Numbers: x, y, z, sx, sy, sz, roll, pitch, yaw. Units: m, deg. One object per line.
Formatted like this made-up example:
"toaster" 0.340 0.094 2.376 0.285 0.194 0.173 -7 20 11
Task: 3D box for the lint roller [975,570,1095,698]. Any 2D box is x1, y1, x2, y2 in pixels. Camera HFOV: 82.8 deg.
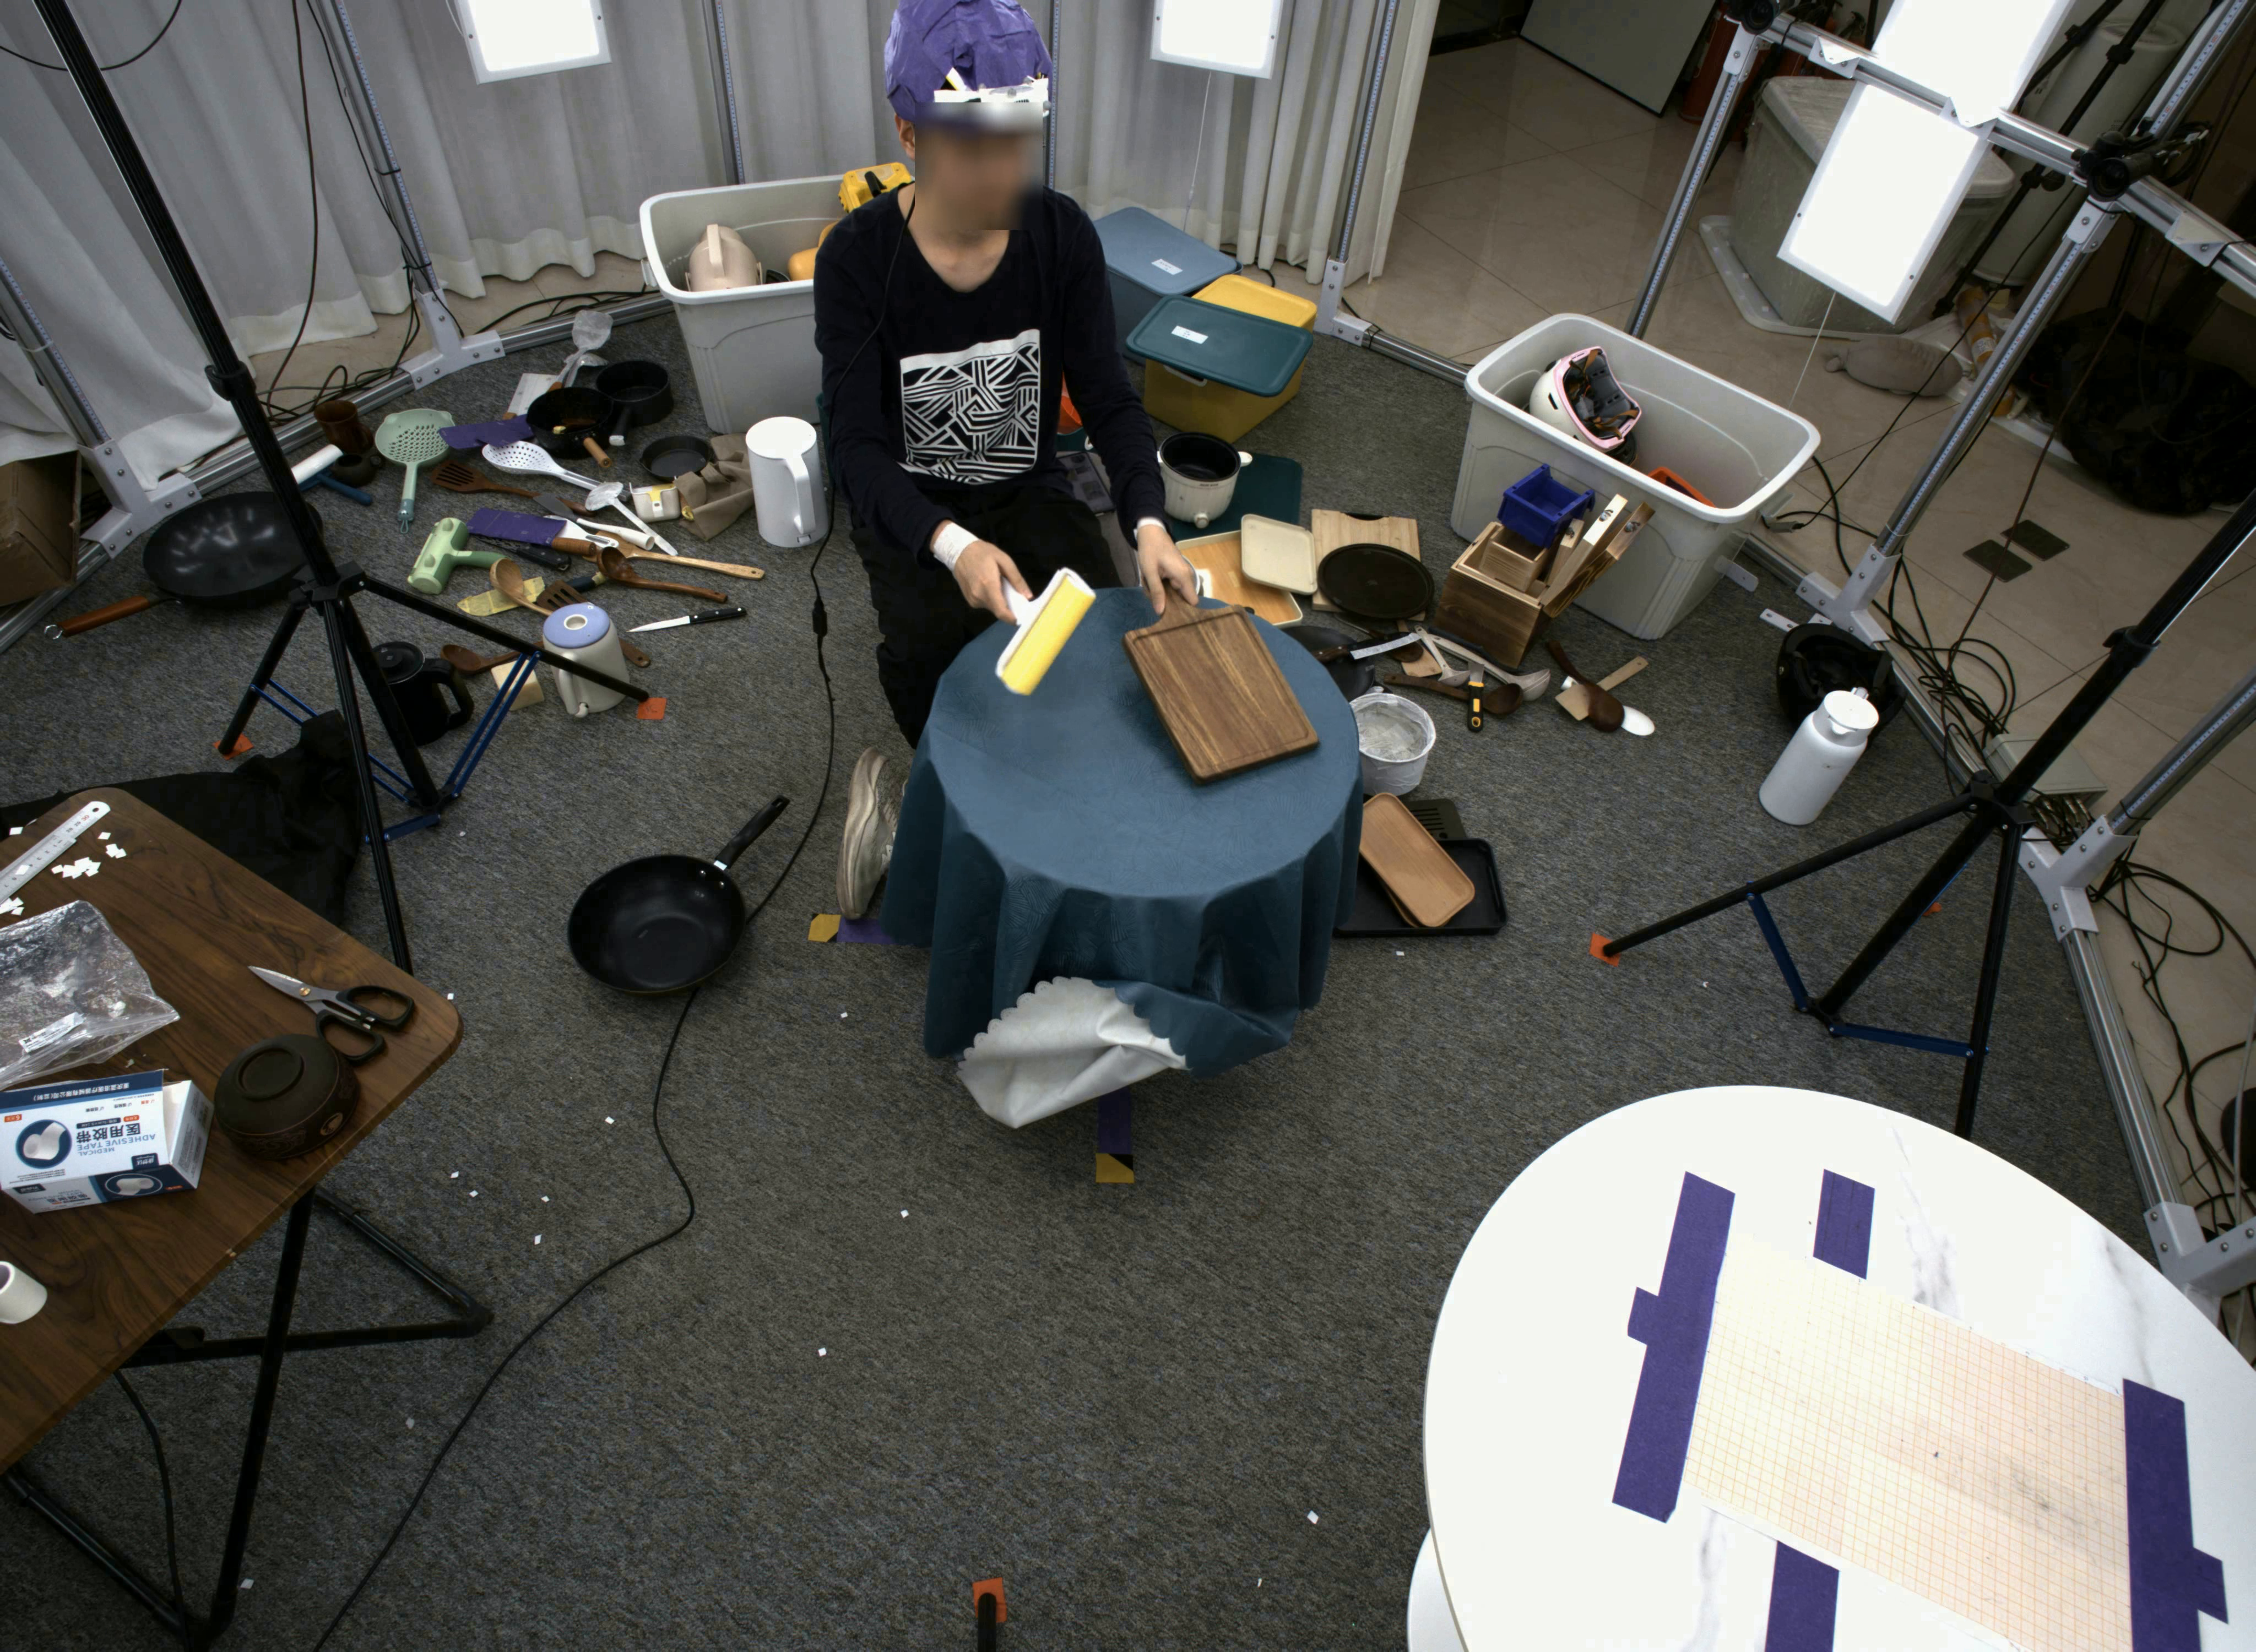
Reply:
"lint roller" -0.154 -0.290 1.723 0.195 0.173 0.051 44 14 28

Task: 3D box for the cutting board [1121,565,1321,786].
"cutting board" 0.108 -0.229 1.809 0.201 0.023 0.358 -17 64 -20
